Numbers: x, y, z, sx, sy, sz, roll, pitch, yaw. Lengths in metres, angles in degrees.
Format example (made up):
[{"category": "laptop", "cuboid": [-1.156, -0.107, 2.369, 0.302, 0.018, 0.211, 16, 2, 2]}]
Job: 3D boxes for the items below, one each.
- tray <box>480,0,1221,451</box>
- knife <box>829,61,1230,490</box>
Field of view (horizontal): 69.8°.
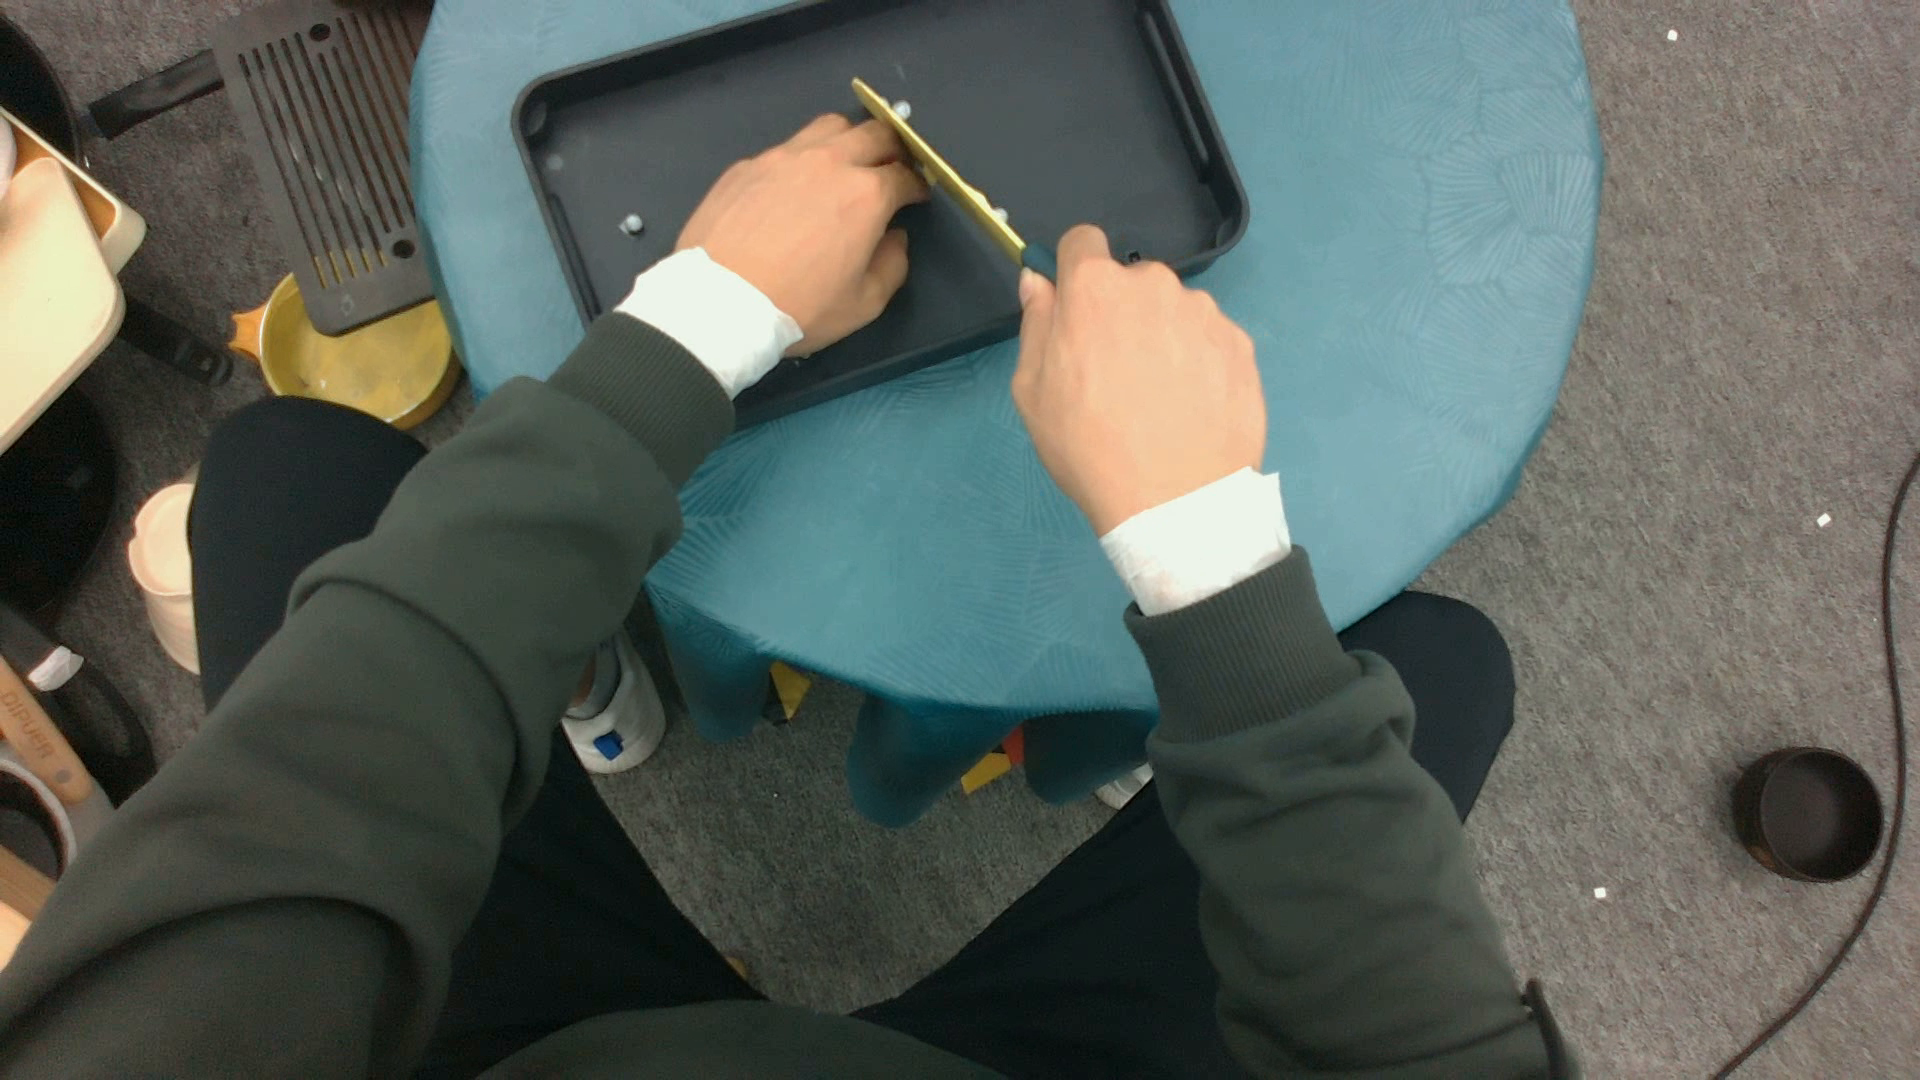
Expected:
[{"category": "tray", "cuboid": [-0.049, -0.177, 0.665, 0.318, 0.037, 0.184, -22, 84, -9]}, {"category": "knife", "cuboid": [0.021, -0.124, 0.604, 0.027, 0.081, 0.290, -42, 64, 7]}]
